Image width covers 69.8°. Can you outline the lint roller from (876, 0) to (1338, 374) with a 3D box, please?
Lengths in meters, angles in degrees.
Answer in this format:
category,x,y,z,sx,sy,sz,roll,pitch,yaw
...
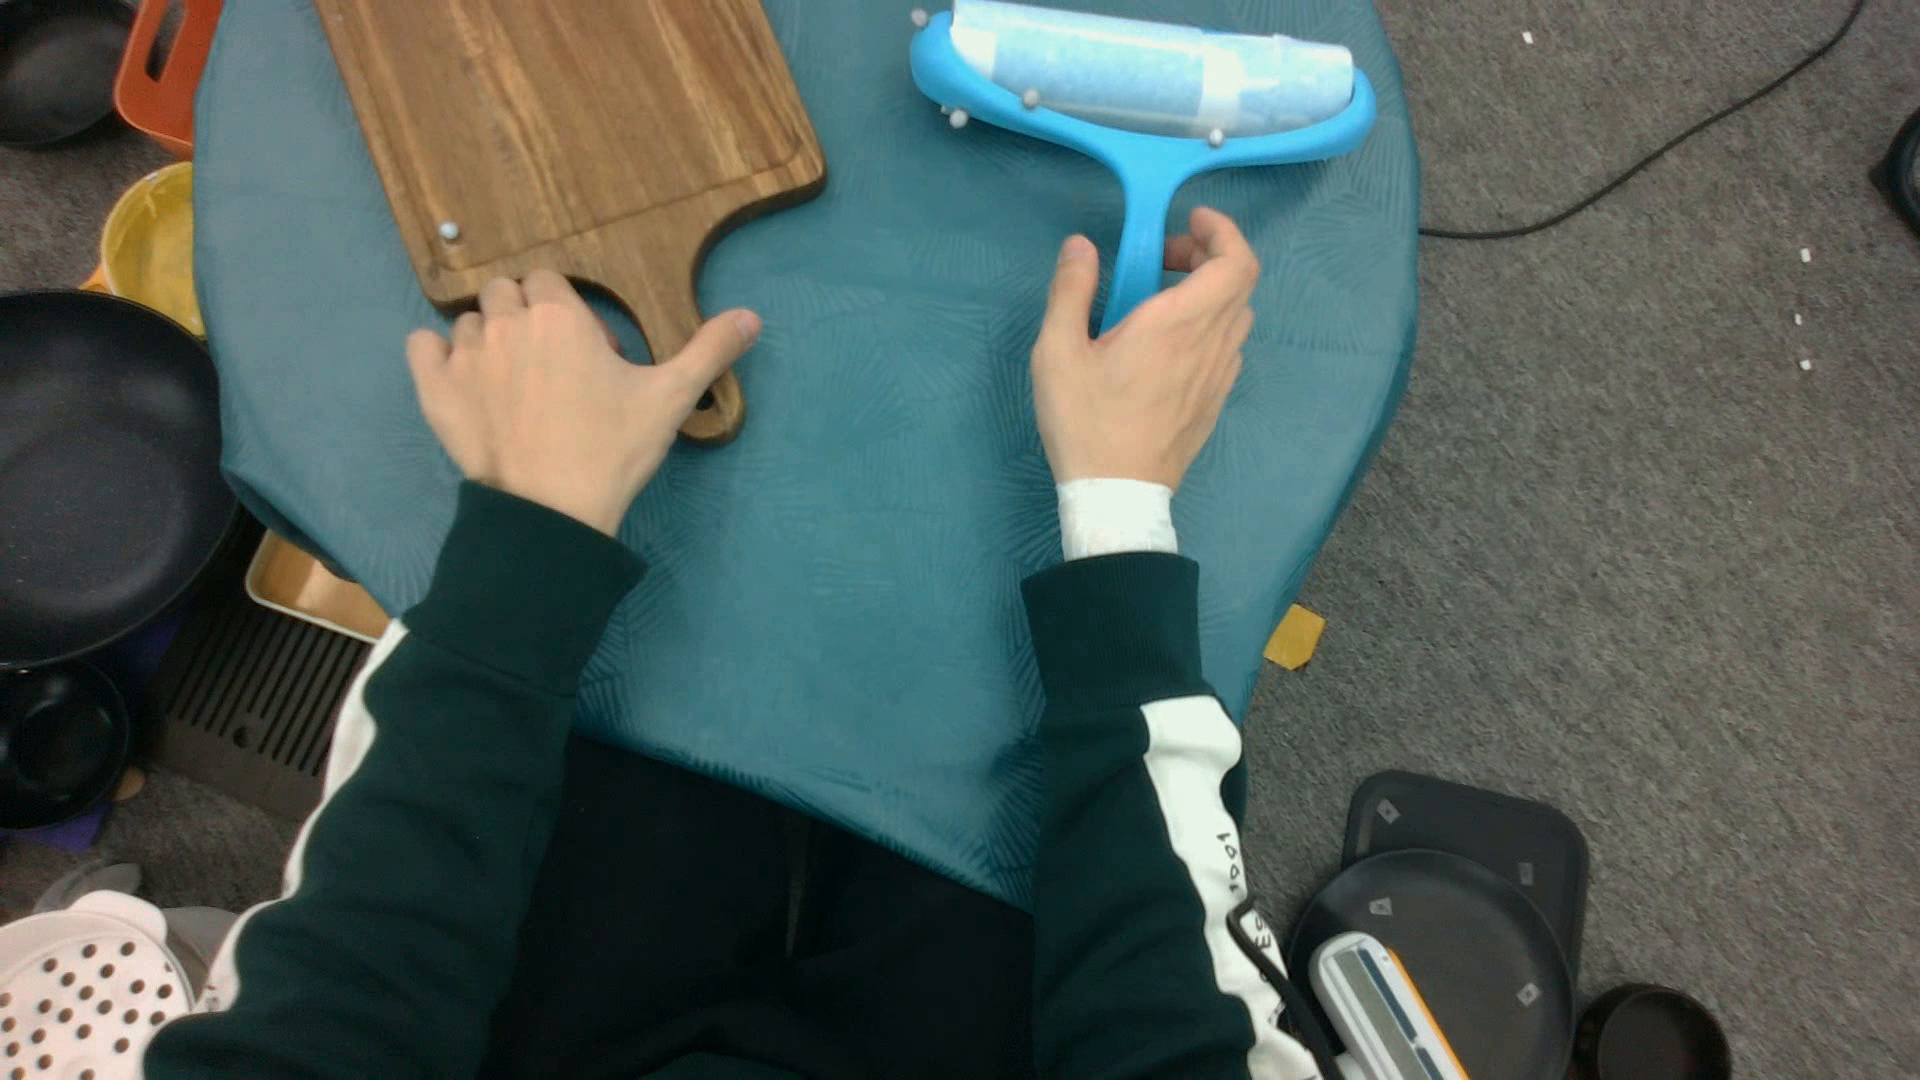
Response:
category,x,y,z,sx,sy,sz,roll,pitch,yaw
lint roller,0.074,-0.175,0.665,0.229,0.068,0.180,1,77,-8

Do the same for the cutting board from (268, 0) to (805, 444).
category,x,y,z,sx,sy,sz,roll,pitch,yaw
cutting board,-0.194,-0.203,0.659,0.201,0.023,0.352,-24,82,-10
